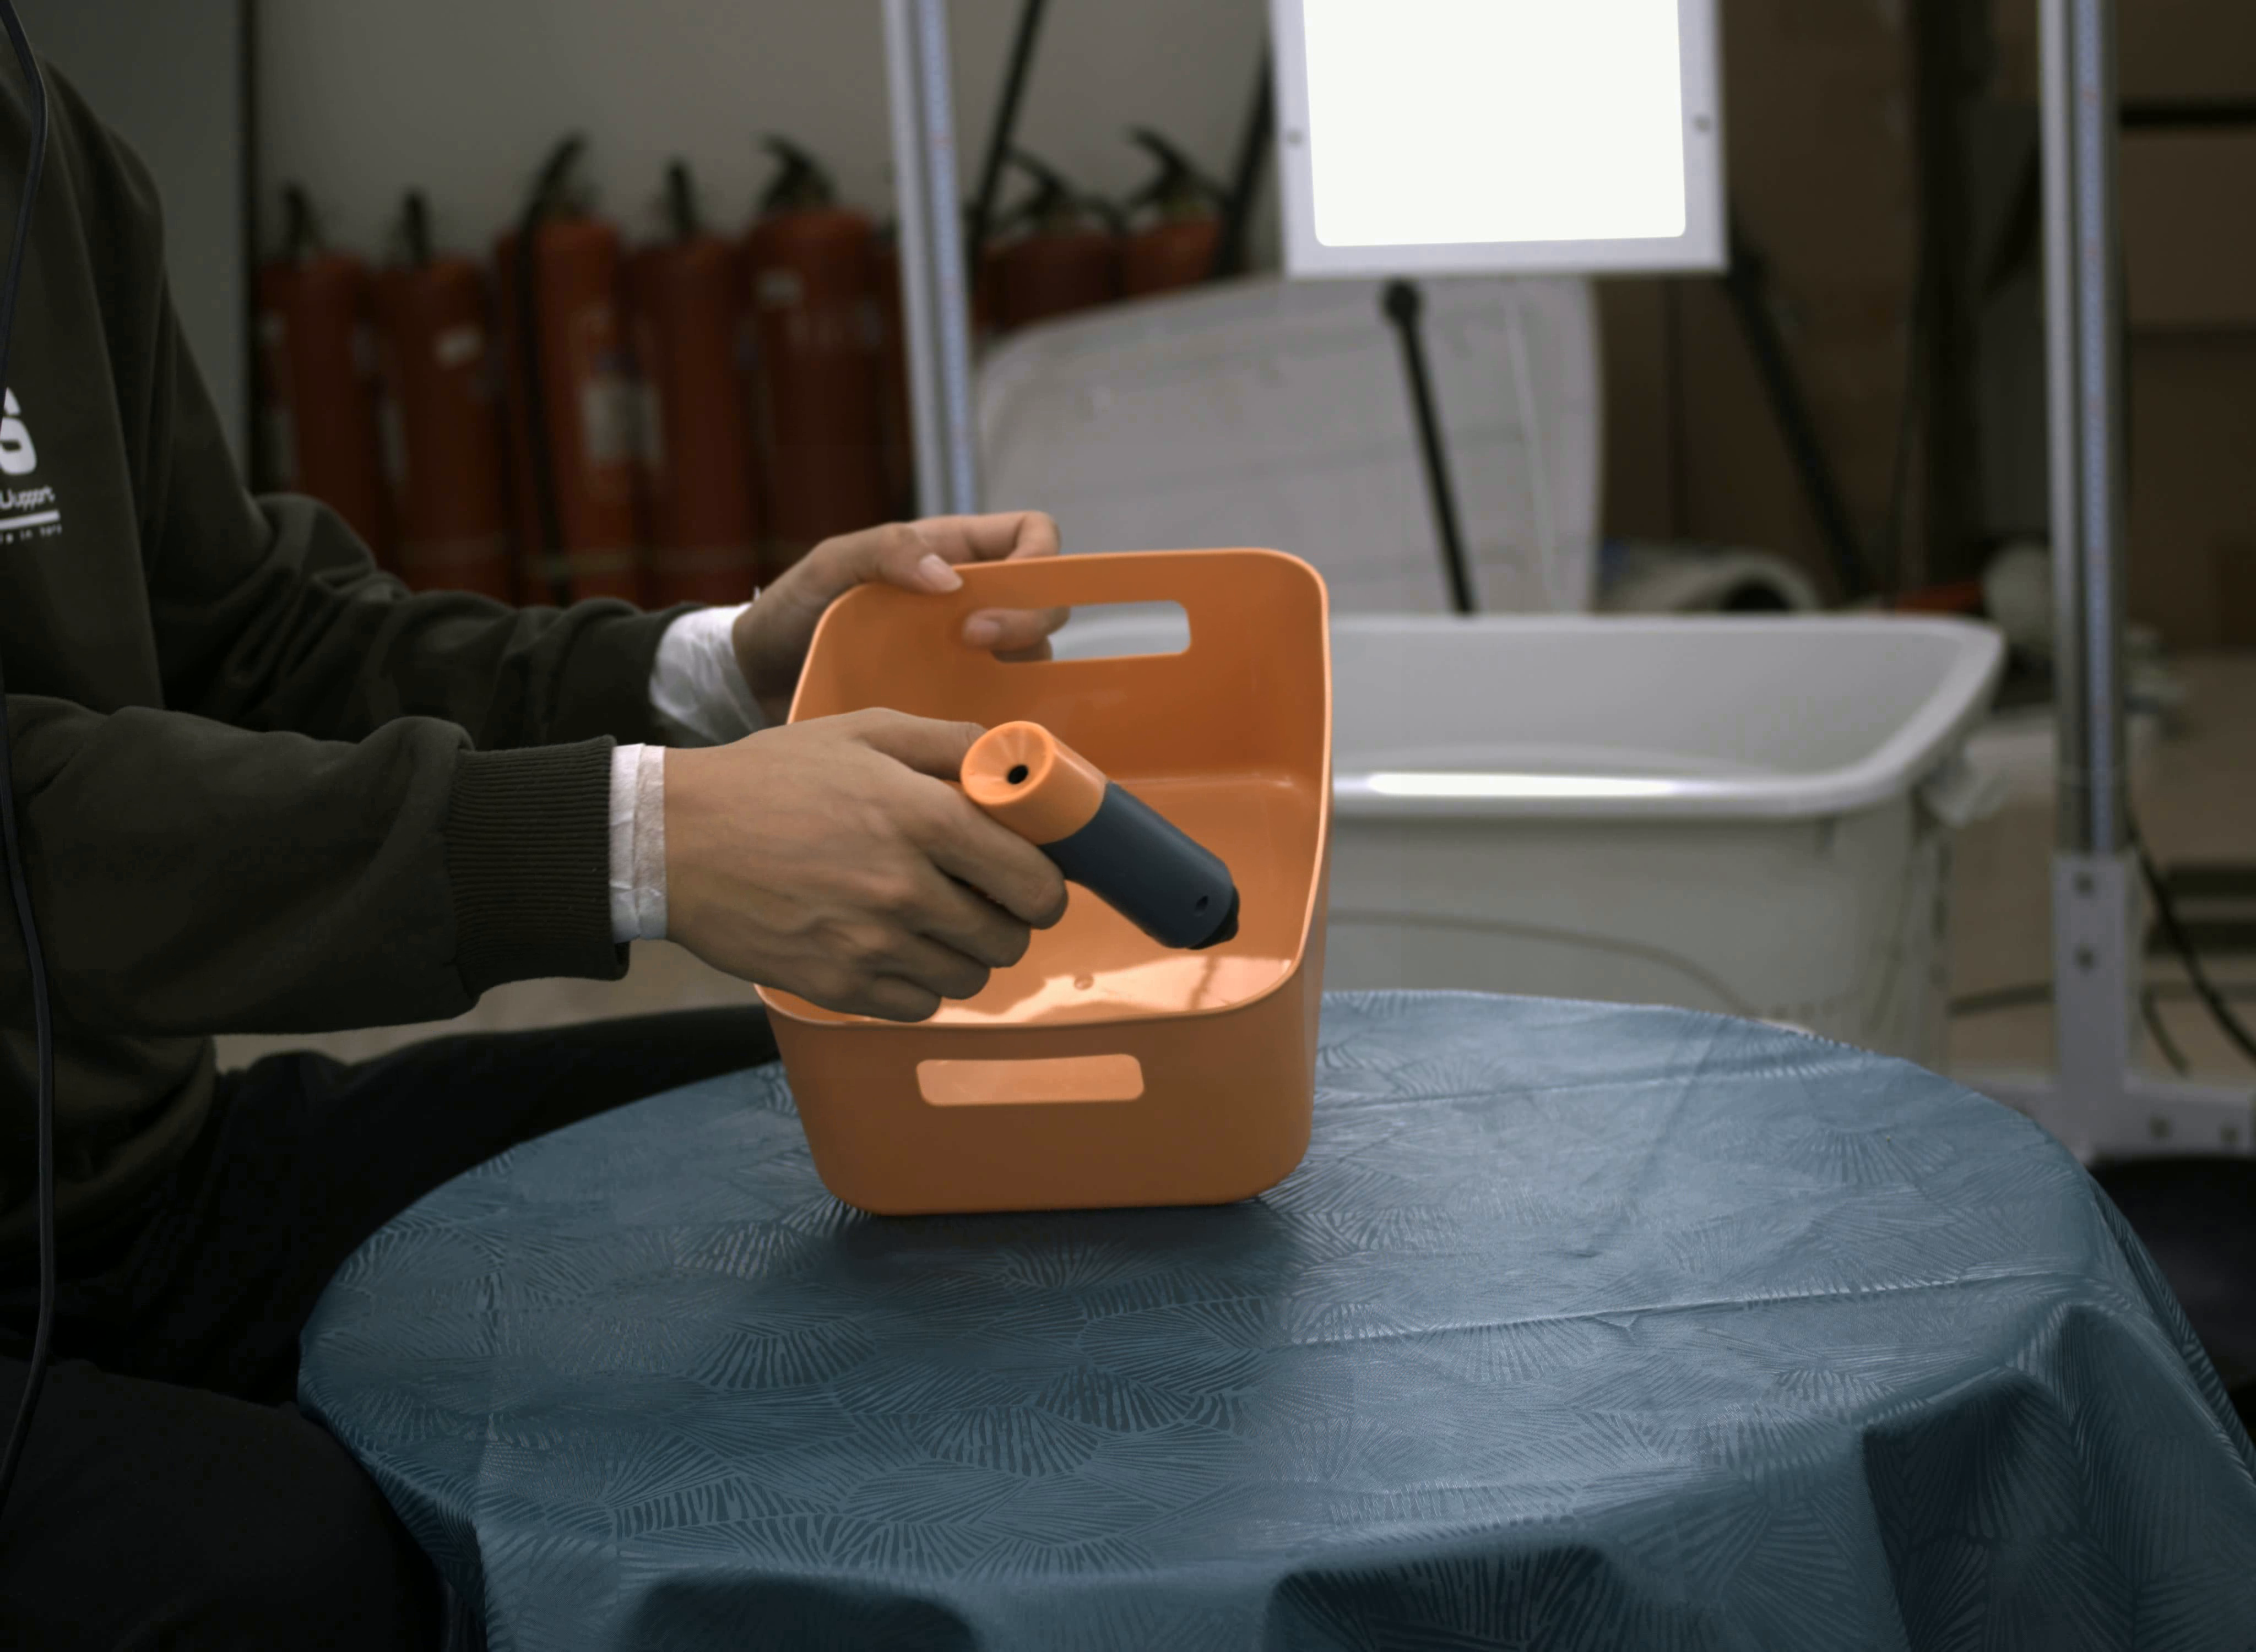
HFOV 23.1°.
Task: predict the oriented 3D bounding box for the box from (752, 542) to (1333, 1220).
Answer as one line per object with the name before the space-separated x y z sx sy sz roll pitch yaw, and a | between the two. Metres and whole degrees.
box | -0.022 0.022 1.952 0.200 0.103 0.271 -5 38 9

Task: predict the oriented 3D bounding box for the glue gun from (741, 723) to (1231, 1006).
glue gun | -0.045 0.018 1.790 0.141 0.117 0.041 -12 51 20
